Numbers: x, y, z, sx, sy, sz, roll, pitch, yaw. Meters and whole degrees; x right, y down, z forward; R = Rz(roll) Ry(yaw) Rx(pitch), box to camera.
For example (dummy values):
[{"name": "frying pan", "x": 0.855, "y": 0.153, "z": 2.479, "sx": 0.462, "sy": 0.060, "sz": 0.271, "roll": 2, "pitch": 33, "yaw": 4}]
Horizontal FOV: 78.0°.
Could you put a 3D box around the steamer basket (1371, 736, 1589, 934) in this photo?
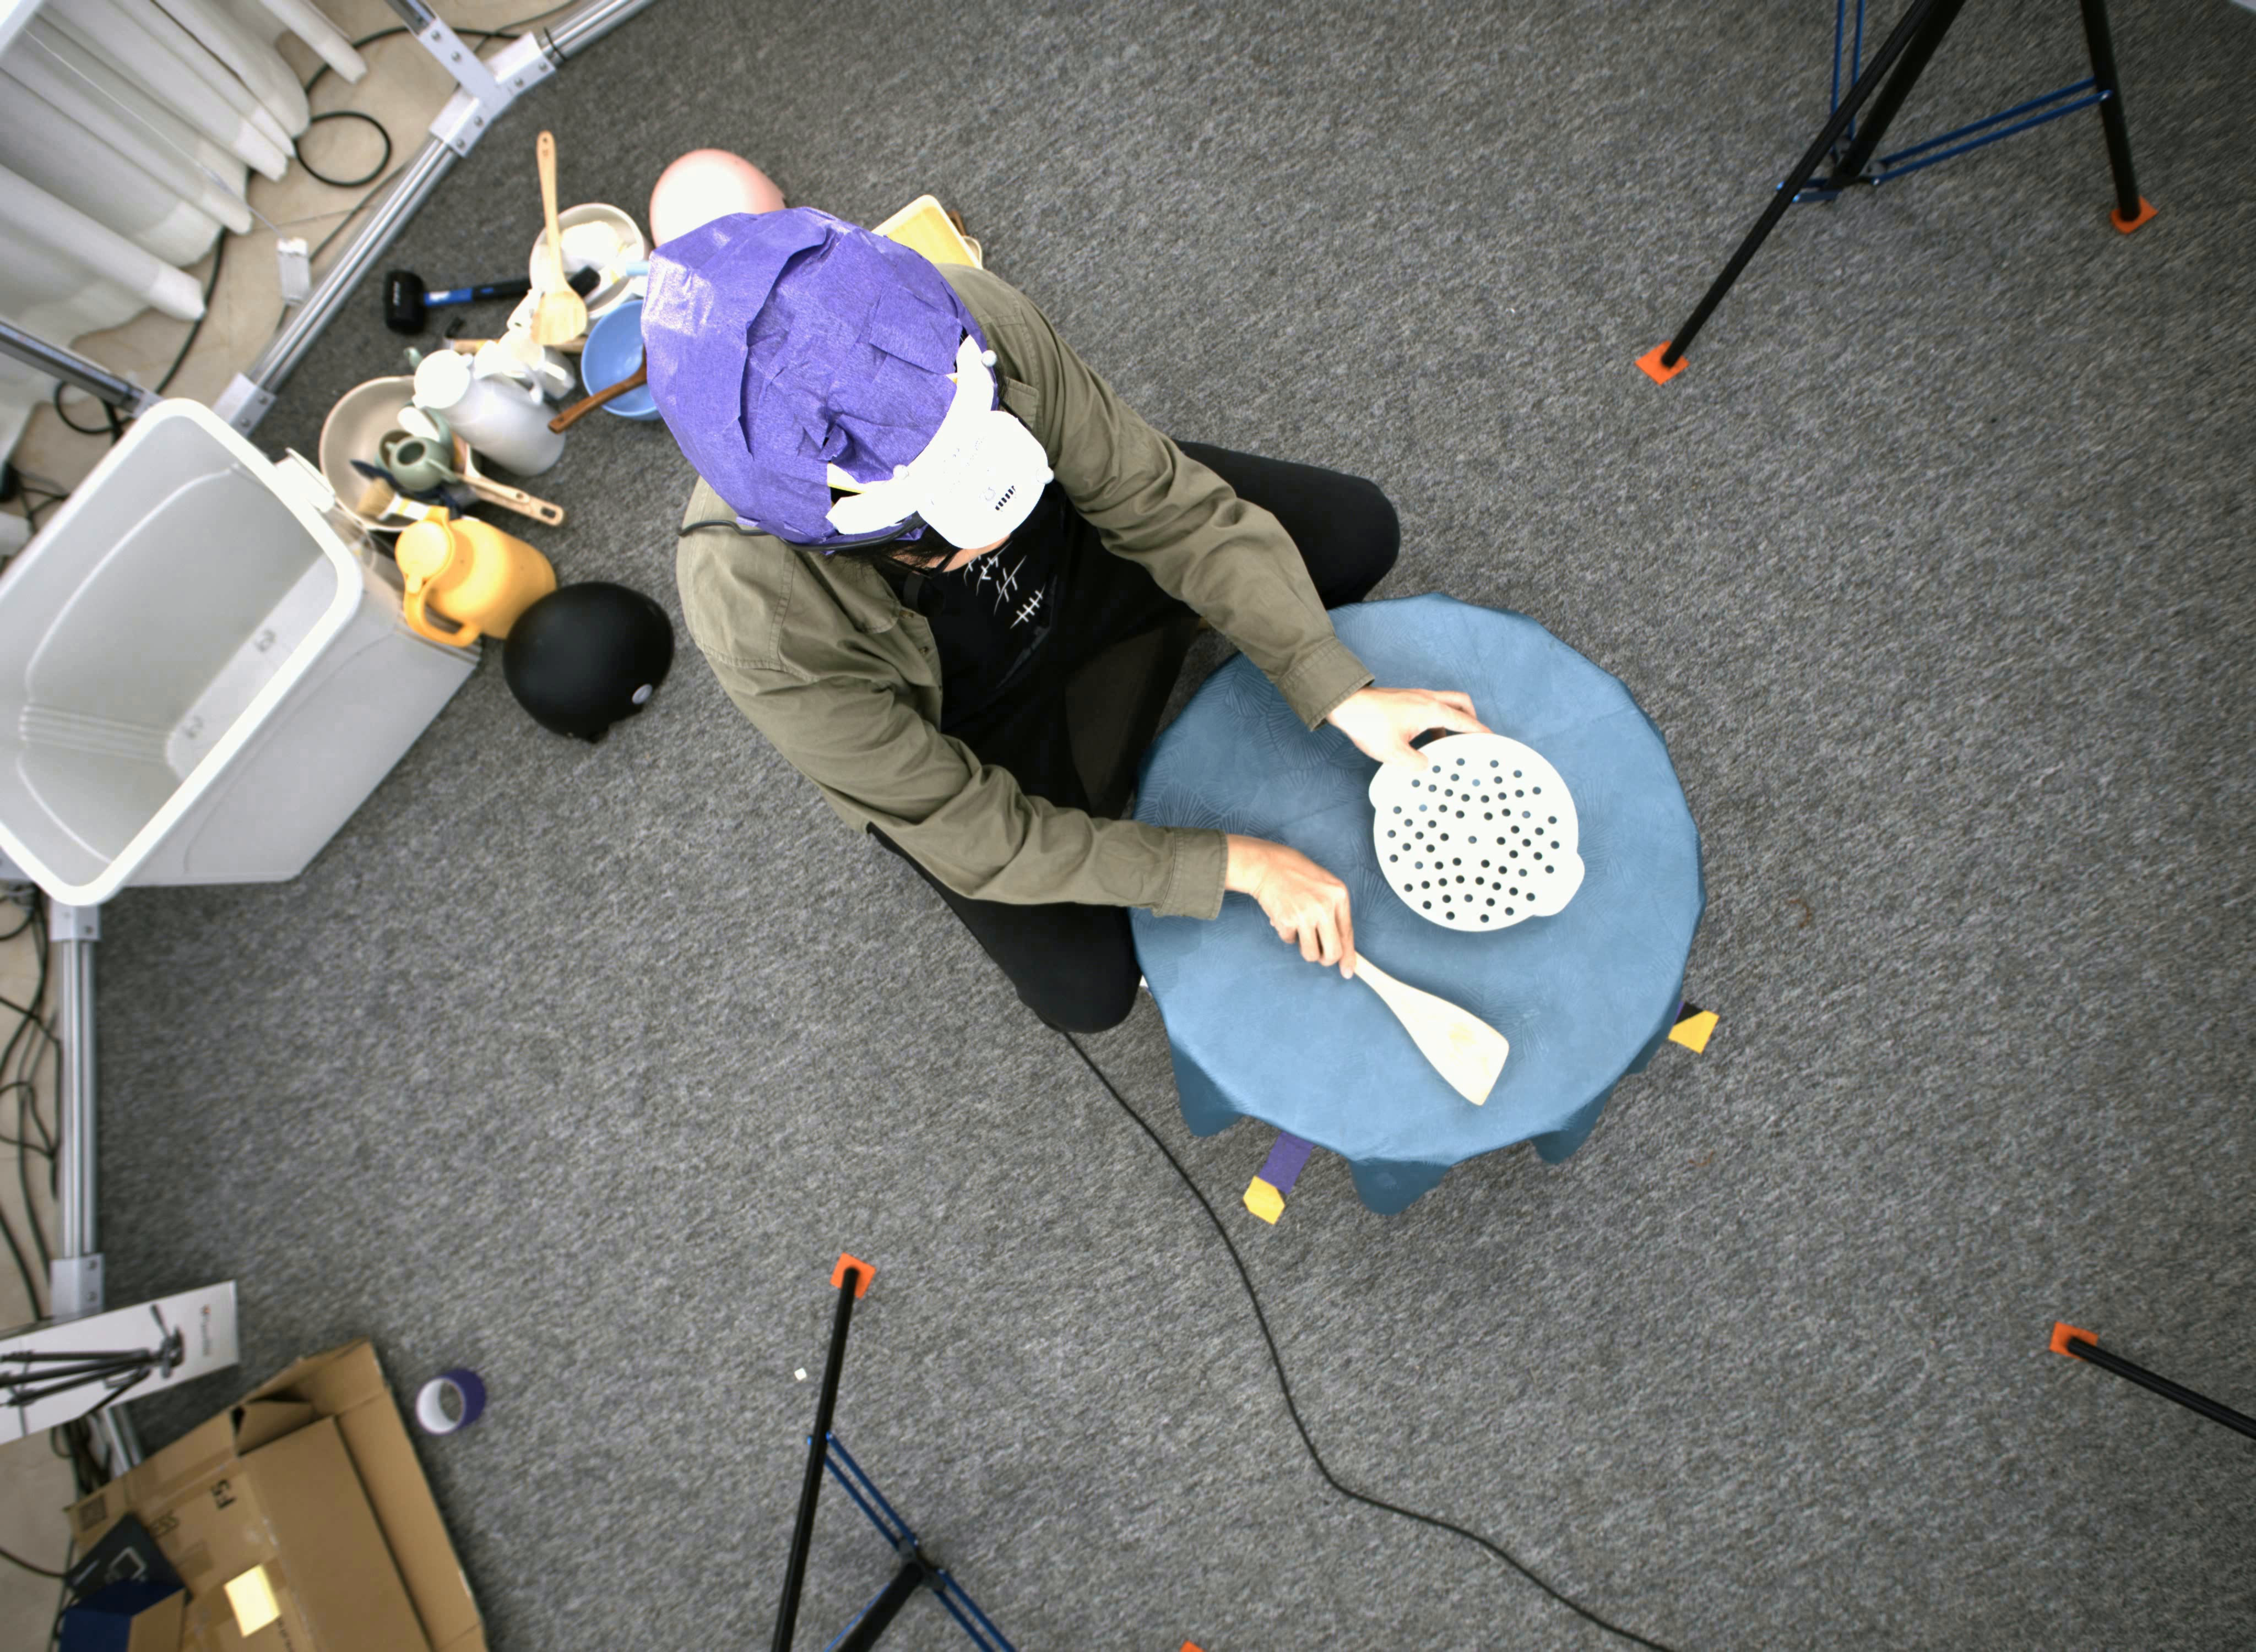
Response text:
[{"name": "steamer basket", "x": 0.356, "y": 0.010, "z": 1.399, "sx": 0.230, "sy": 0.069, "sz": 0.202, "roll": 34, "pitch": 91, "yaw": 14}]

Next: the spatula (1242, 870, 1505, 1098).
[{"name": "spatula", "x": 0.246, "y": 0.148, "z": 1.422, "sx": 0.326, "sy": 0.016, "sz": 0.082, "roll": 38, "pitch": 120, "yaw": 15}]
